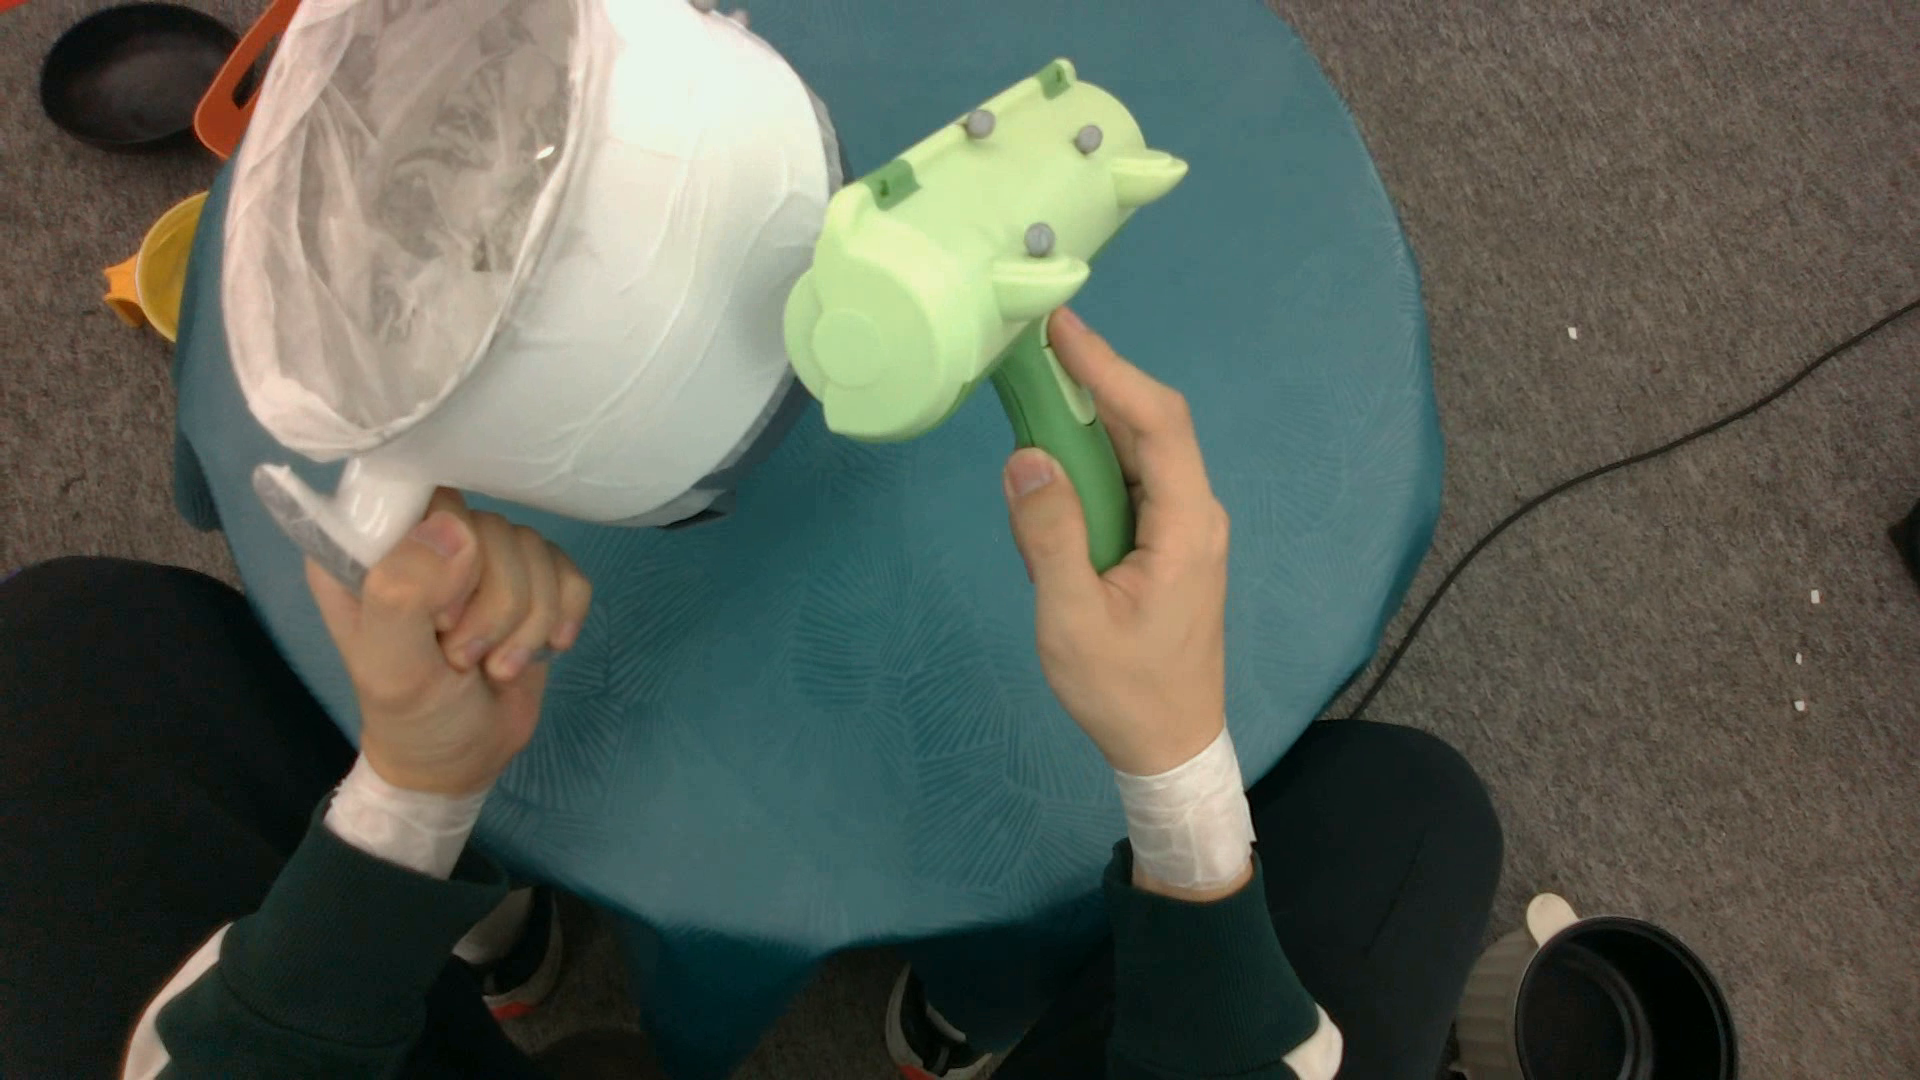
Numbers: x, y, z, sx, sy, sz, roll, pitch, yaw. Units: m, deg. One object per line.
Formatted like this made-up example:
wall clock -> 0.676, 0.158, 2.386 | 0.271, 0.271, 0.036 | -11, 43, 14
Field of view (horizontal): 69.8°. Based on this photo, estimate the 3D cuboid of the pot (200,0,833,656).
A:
pot -> -0.149, -0.076, 0.457 | 0.178, 0.137, 0.233 | 21, 93, 36

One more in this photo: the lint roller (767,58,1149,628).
lint roller -> 0.033, -0.056, 0.447 | 0.183, 0.082, 0.199 | 59, 31, -16
